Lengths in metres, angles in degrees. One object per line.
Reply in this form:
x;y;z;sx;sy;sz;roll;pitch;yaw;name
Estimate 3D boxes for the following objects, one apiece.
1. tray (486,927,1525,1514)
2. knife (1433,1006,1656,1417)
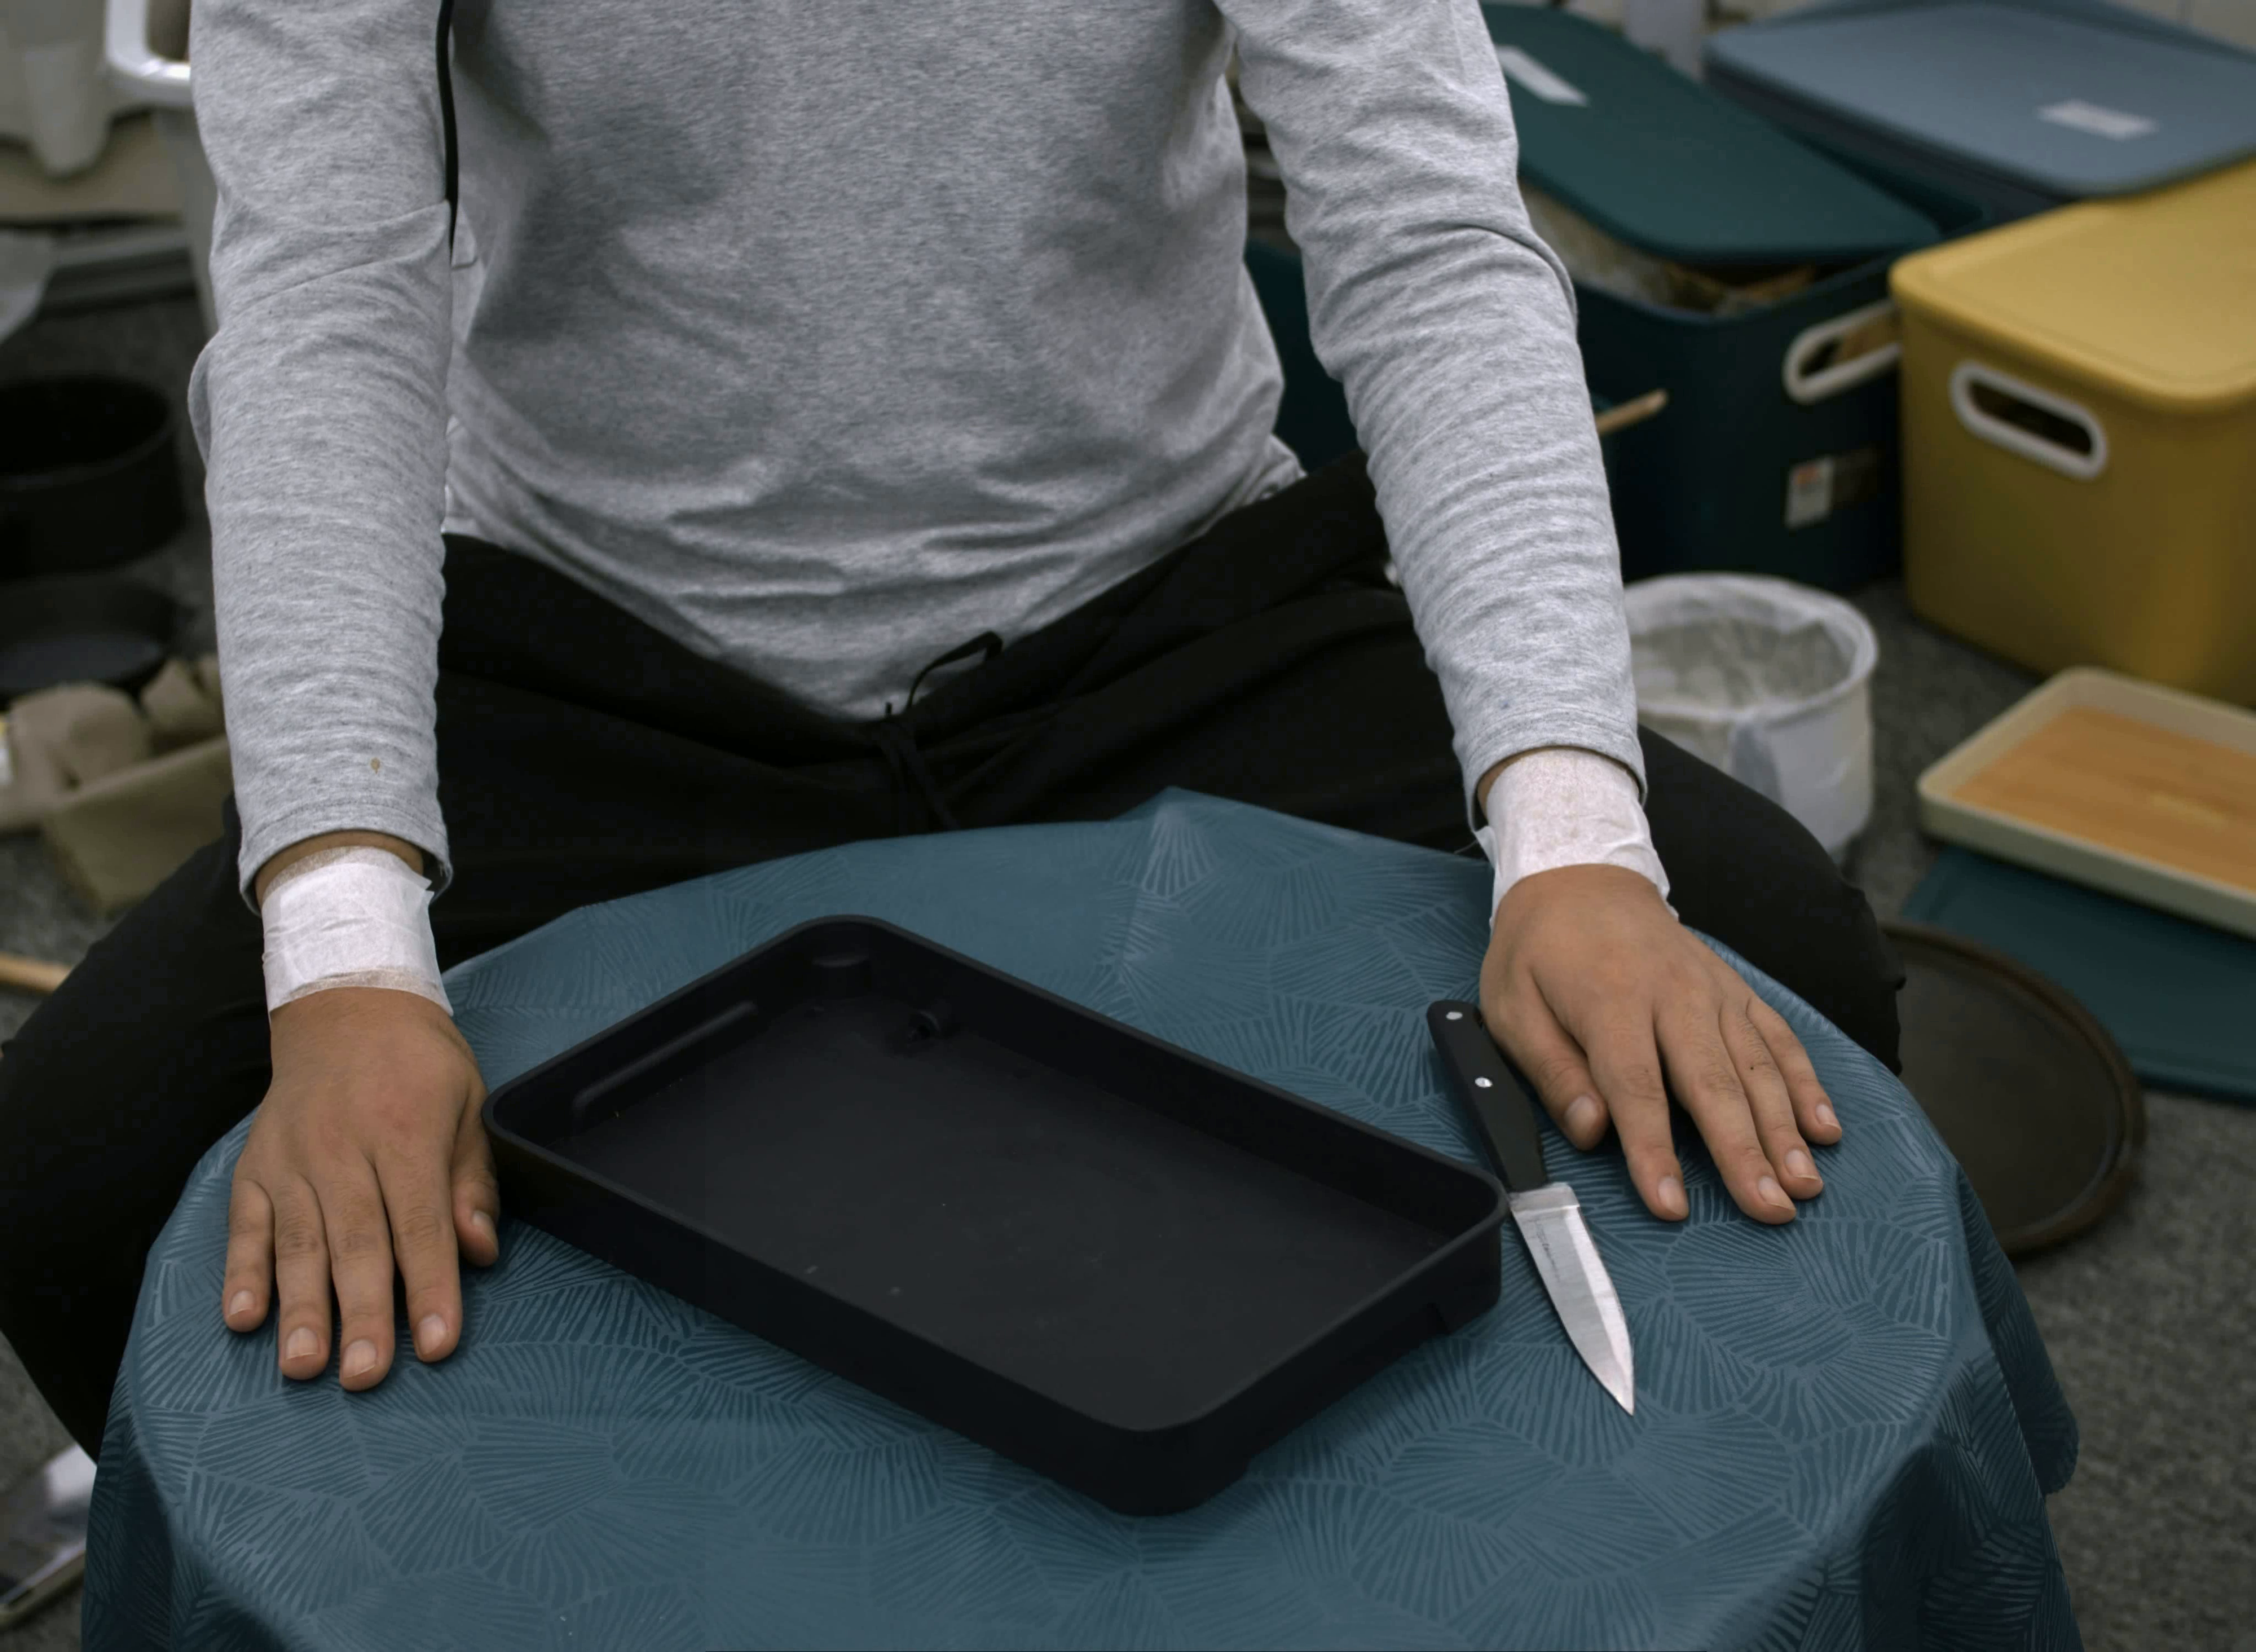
-0.042;0.122;1.827;0.317;0.036;0.187;19;34;37;tray
0.134;0.124;1.831;0.024;0.016;0.241;-6;30;-10;knife
